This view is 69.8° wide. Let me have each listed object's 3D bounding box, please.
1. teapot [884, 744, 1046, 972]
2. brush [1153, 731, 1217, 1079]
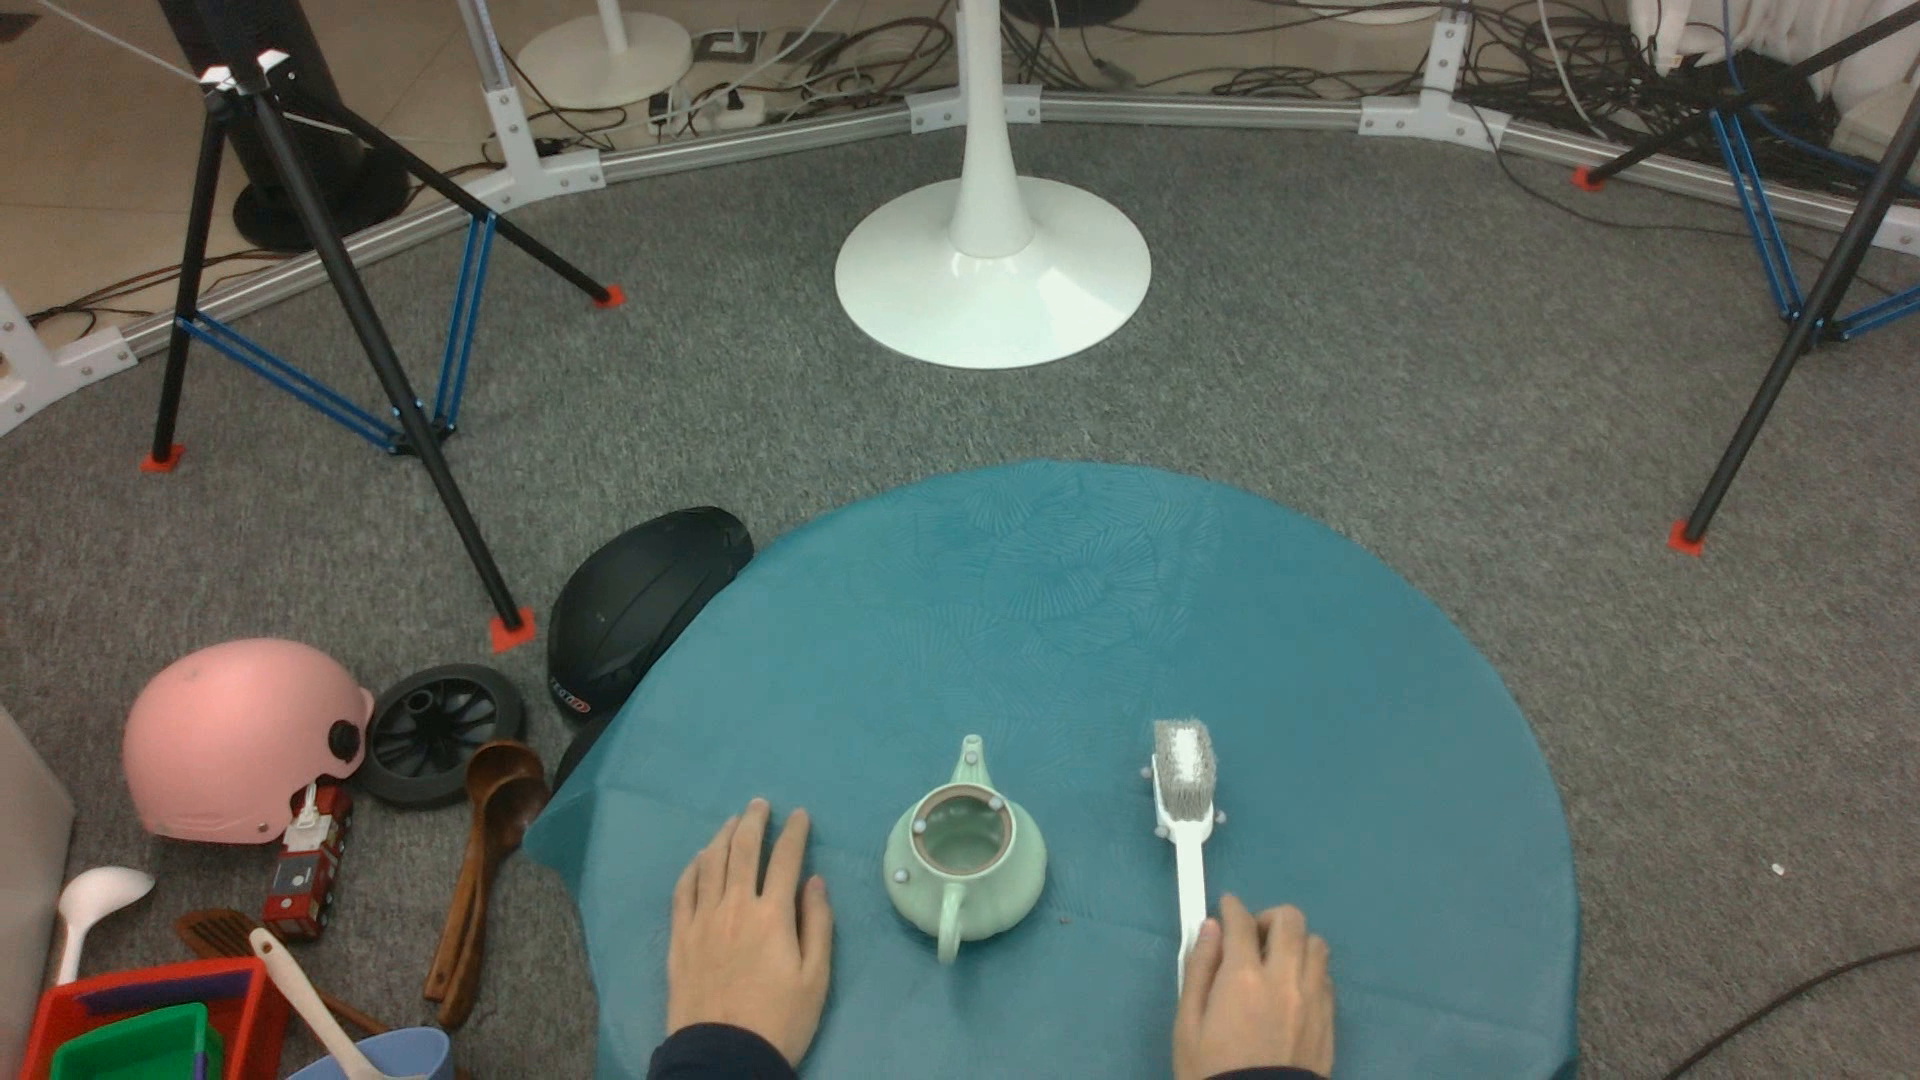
[{"bbox_3d":[0.003,0.192,0.809,0.096,0.061,0.137,3,47,3],"label":"teapot"},{"bbox_3d":[0.130,0.215,0.789,0.034,0.050,0.245,6,47,2],"label":"brush"}]
